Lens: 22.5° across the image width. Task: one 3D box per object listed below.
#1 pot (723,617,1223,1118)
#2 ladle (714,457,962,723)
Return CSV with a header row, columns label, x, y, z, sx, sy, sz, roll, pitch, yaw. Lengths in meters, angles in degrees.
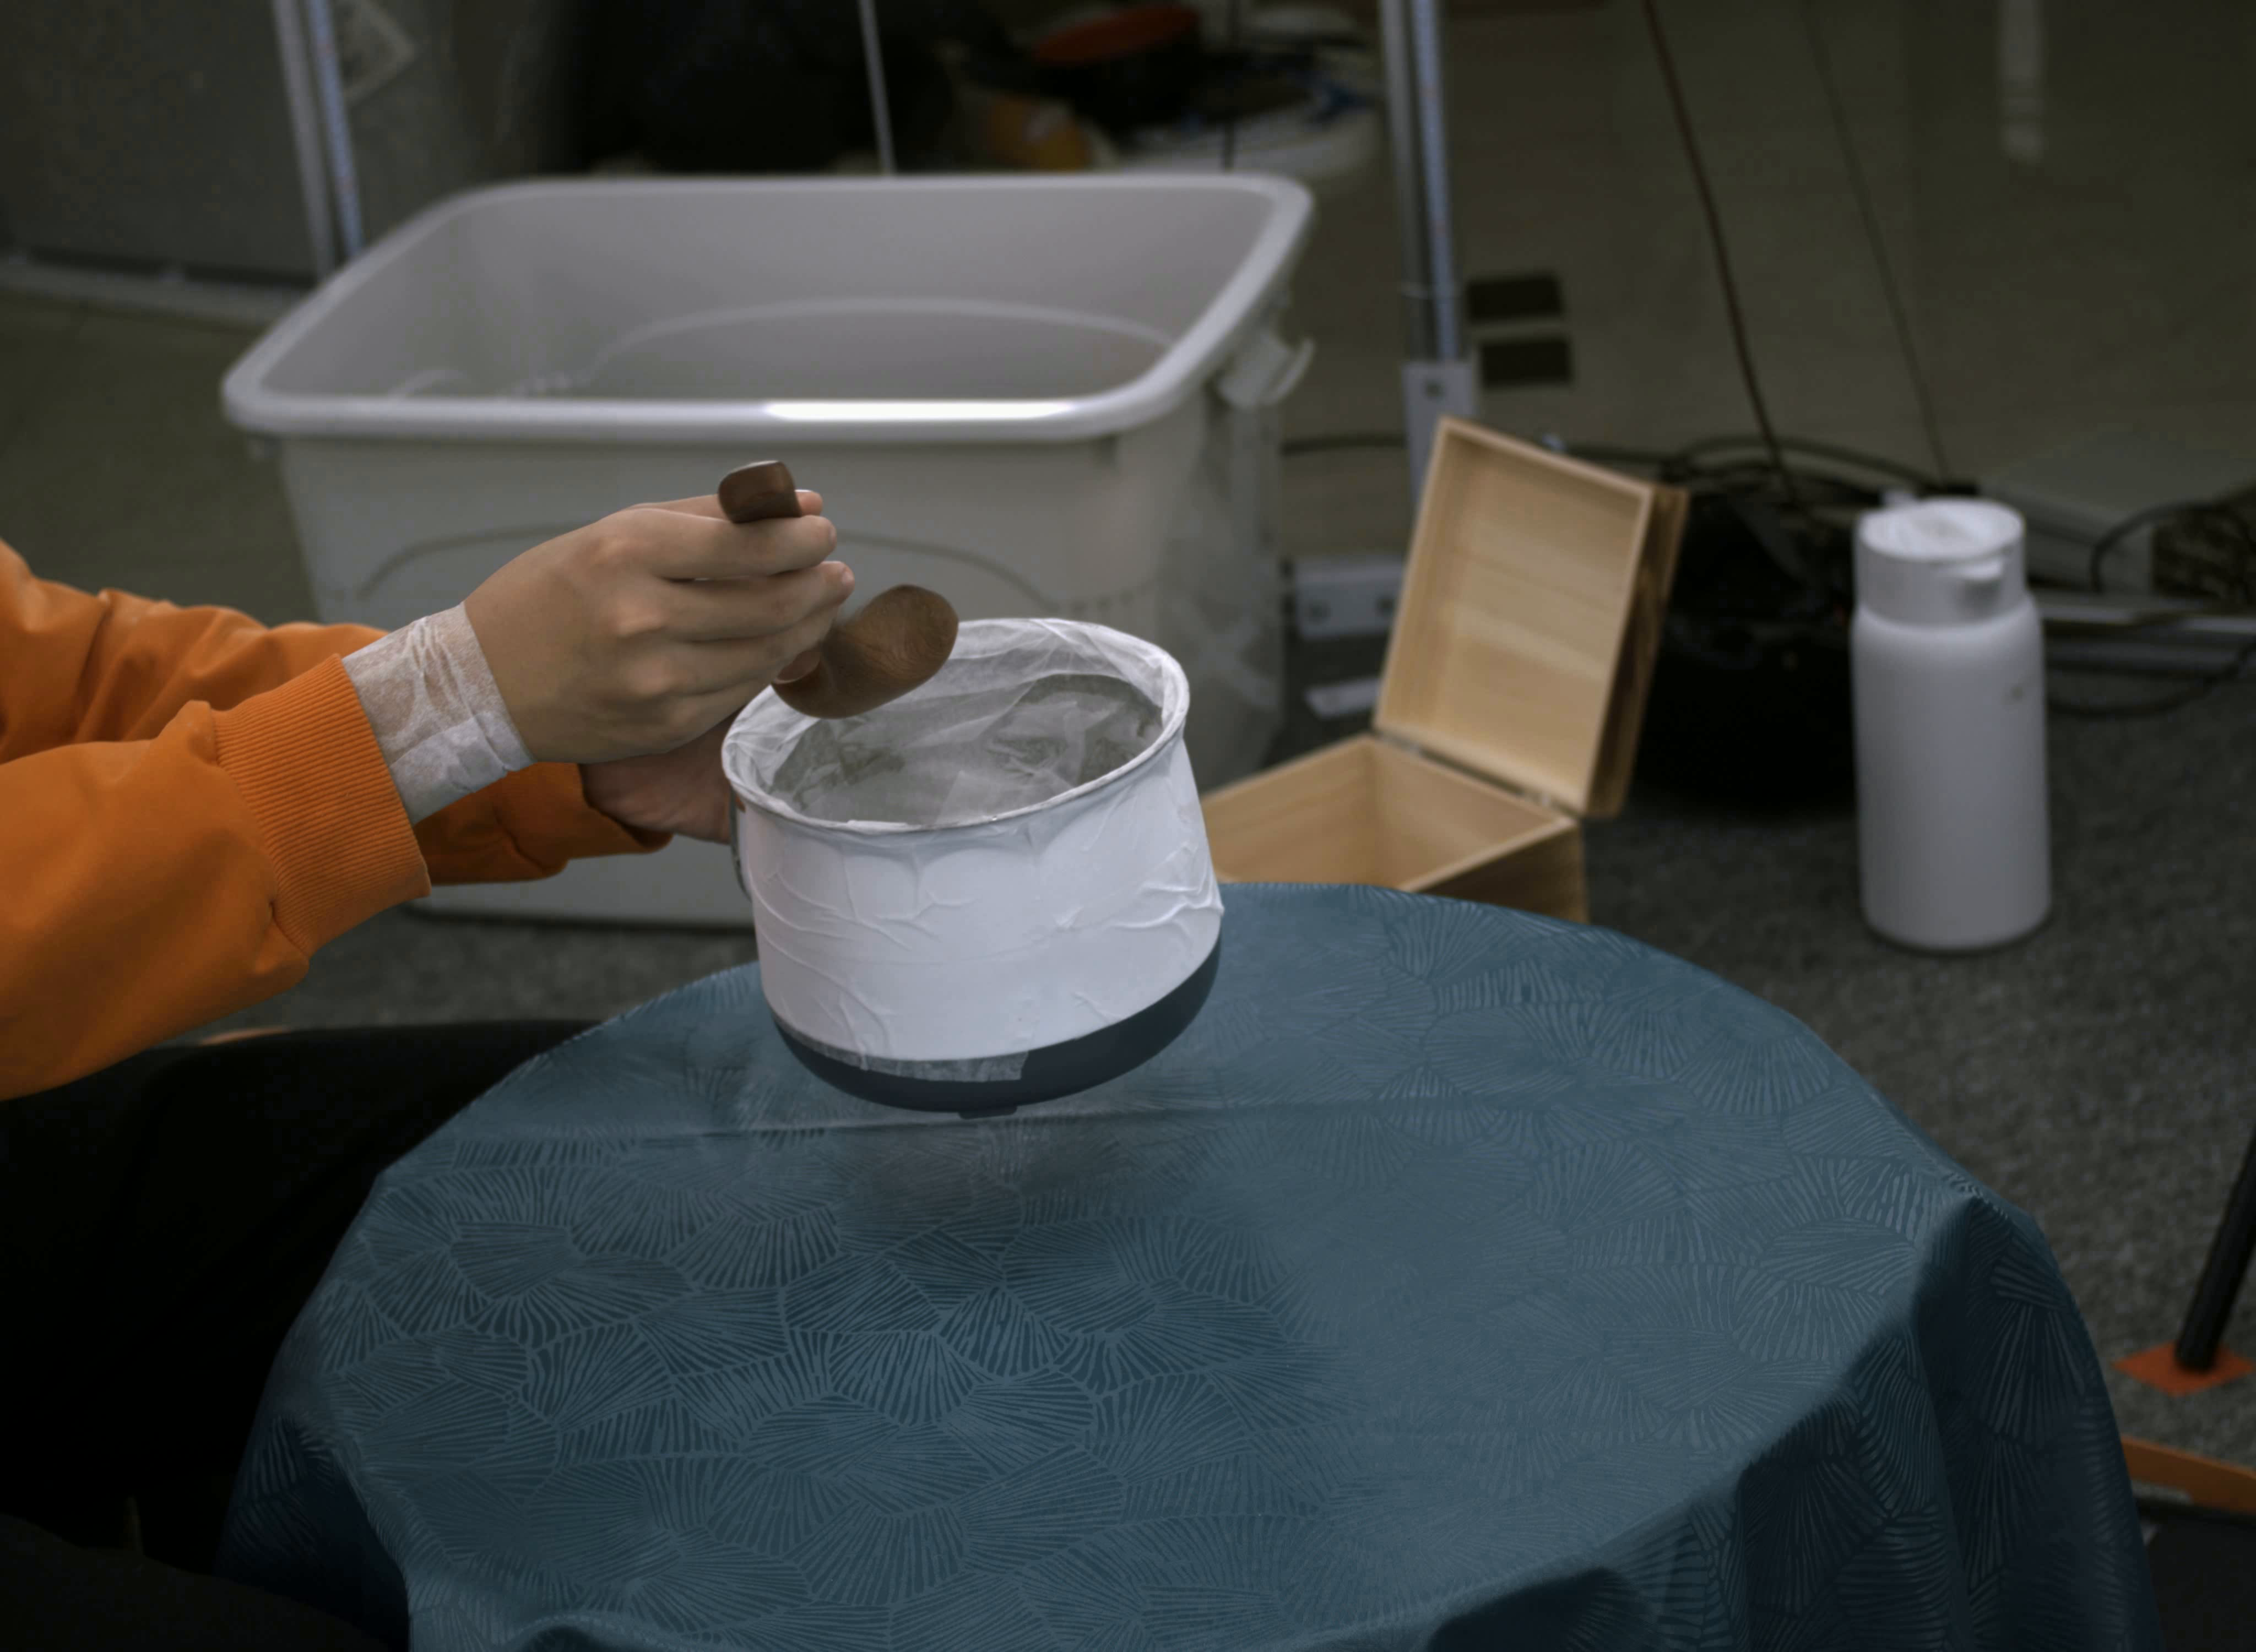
label,x,y,z,sx,sy,sz,roll,pitch,yaw
pot,-0.074,0.010,2.157,0.177,0.139,0.232,-28,33,-35
ladle,-0.115,-0.095,1.999,0.076,0.263,0.064,-30,69,1
